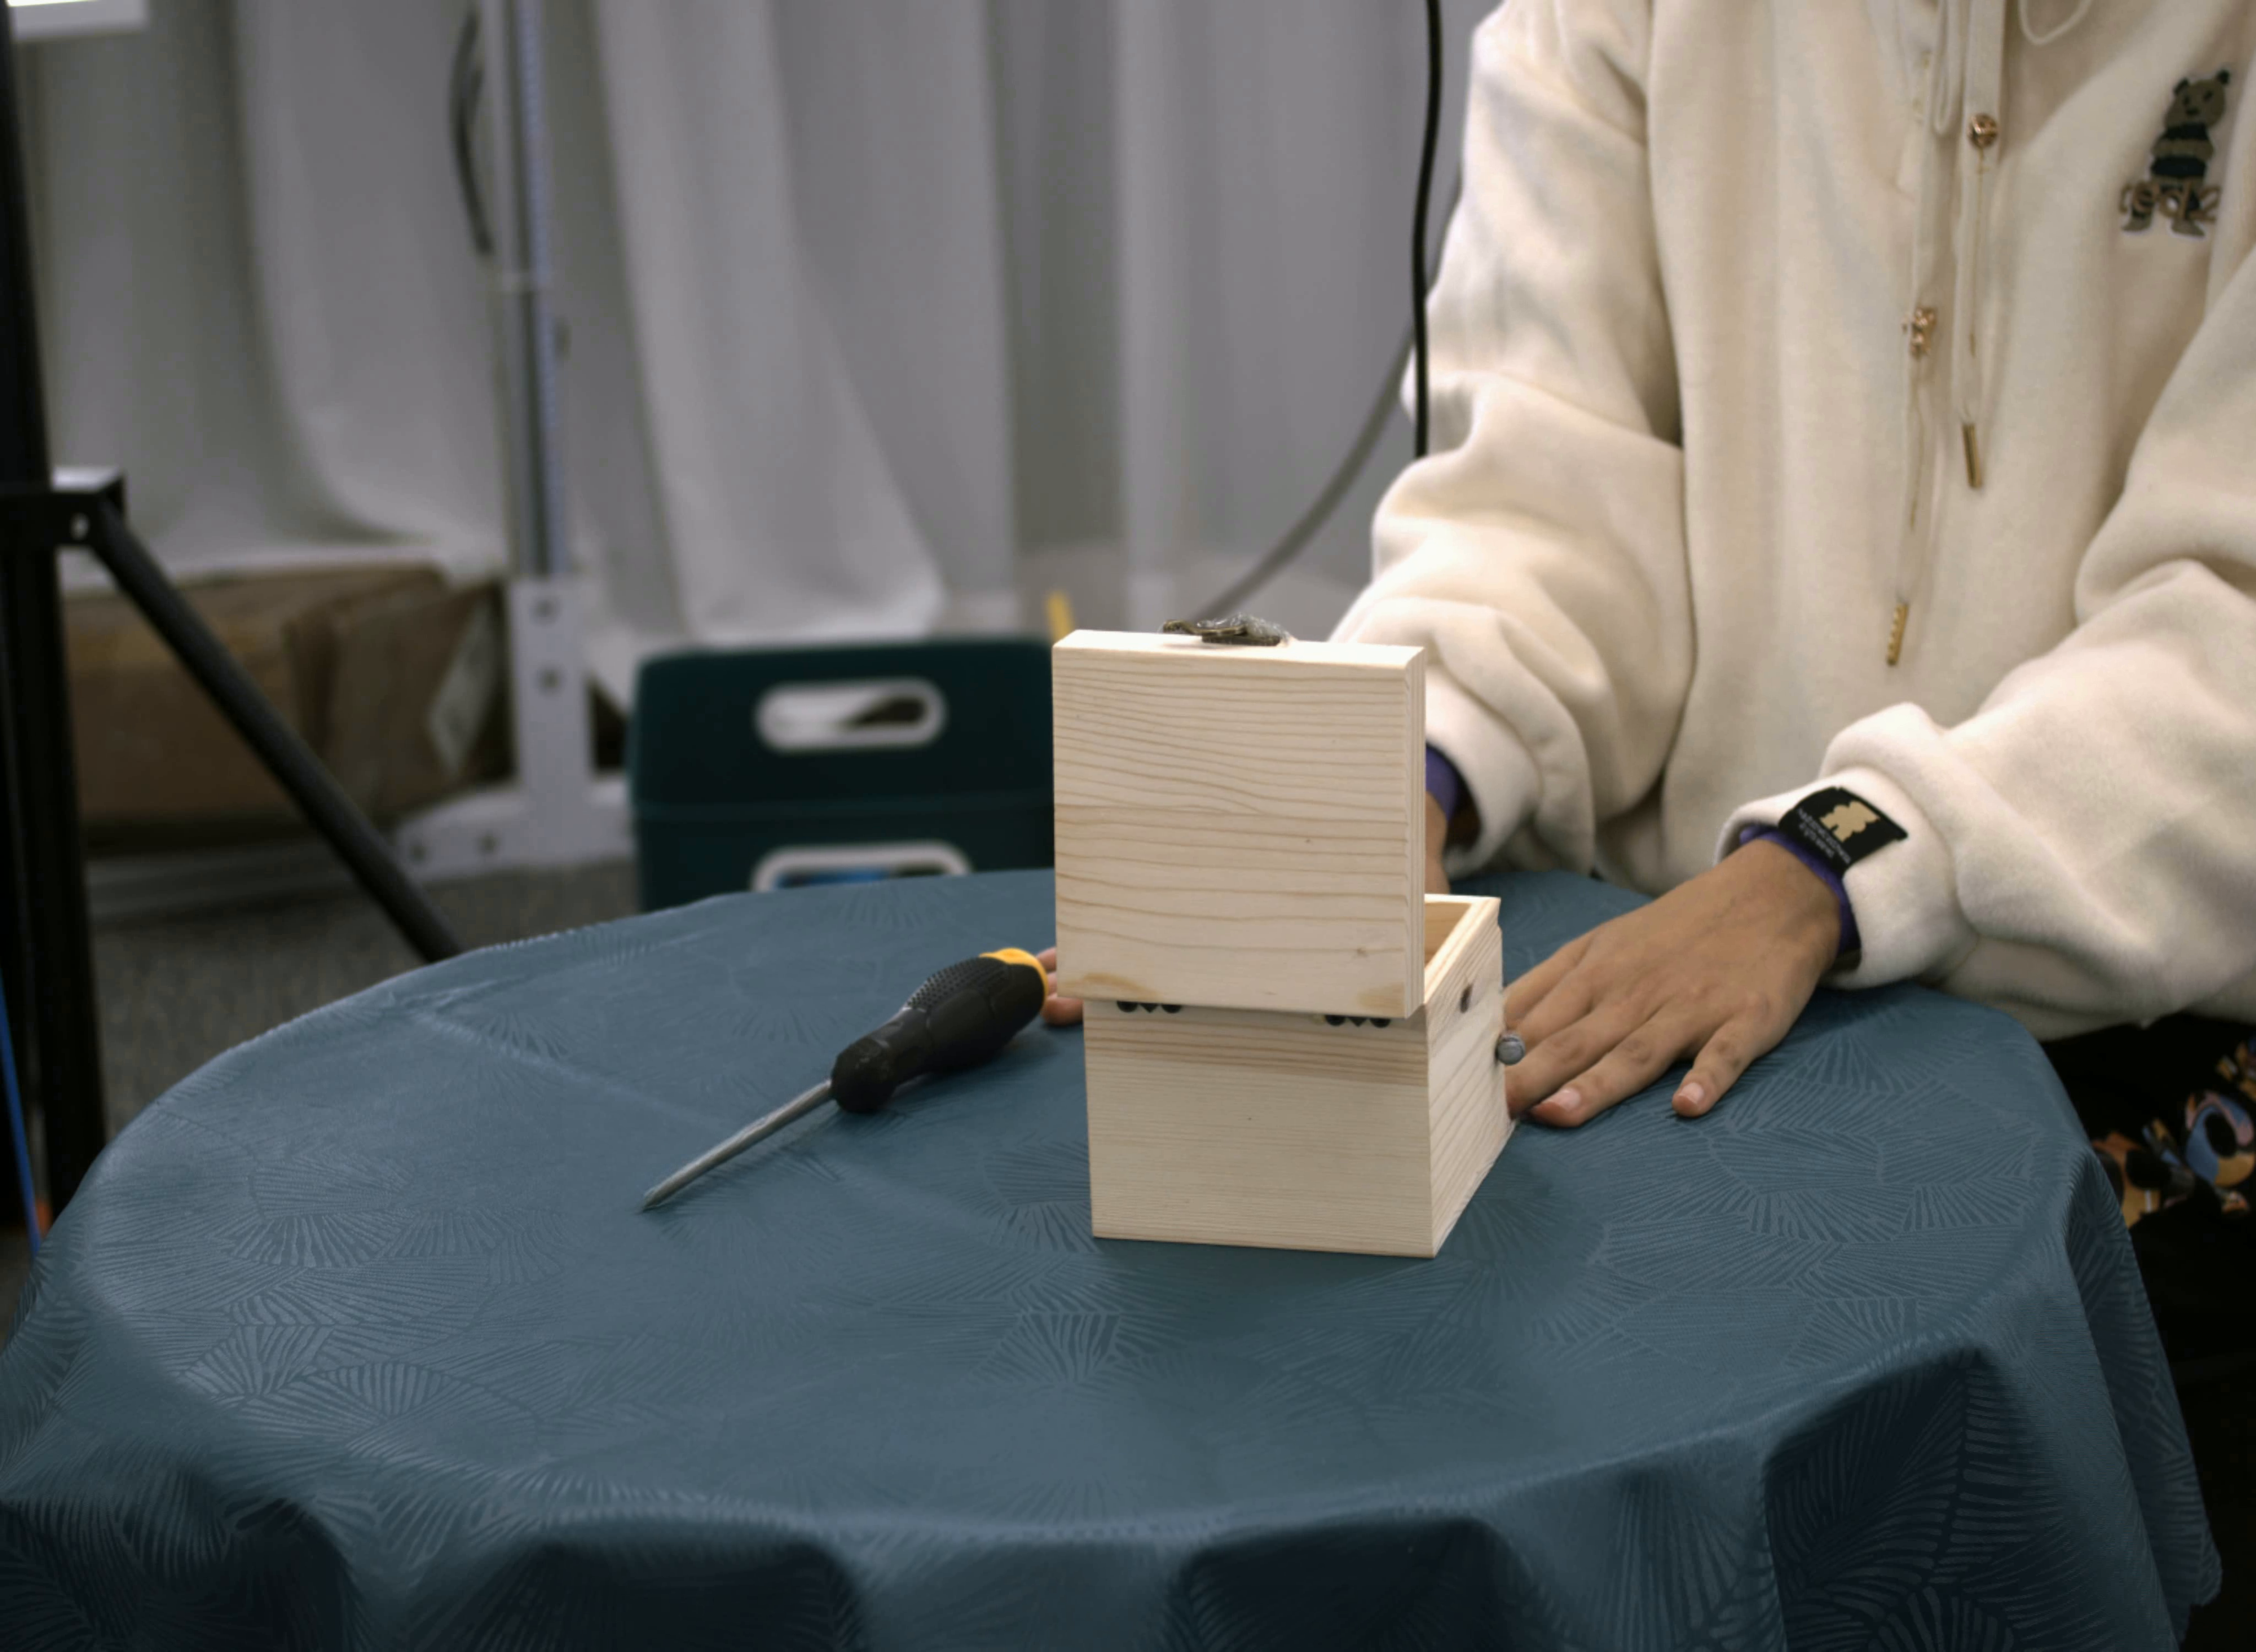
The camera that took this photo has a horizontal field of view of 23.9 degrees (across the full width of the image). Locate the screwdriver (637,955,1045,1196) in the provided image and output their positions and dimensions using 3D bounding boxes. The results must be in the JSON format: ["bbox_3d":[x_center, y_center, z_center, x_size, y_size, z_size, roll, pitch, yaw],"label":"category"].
[{"bbox_3d":[-0.090,0.078,1.637,0.032,0.031,0.194,10,22,37],"label":"screwdriver"}]

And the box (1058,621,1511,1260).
[{"bbox_3d":[0.048,0.022,1.518,0.103,0.184,0.133,2,16,16],"label":"box"}]
